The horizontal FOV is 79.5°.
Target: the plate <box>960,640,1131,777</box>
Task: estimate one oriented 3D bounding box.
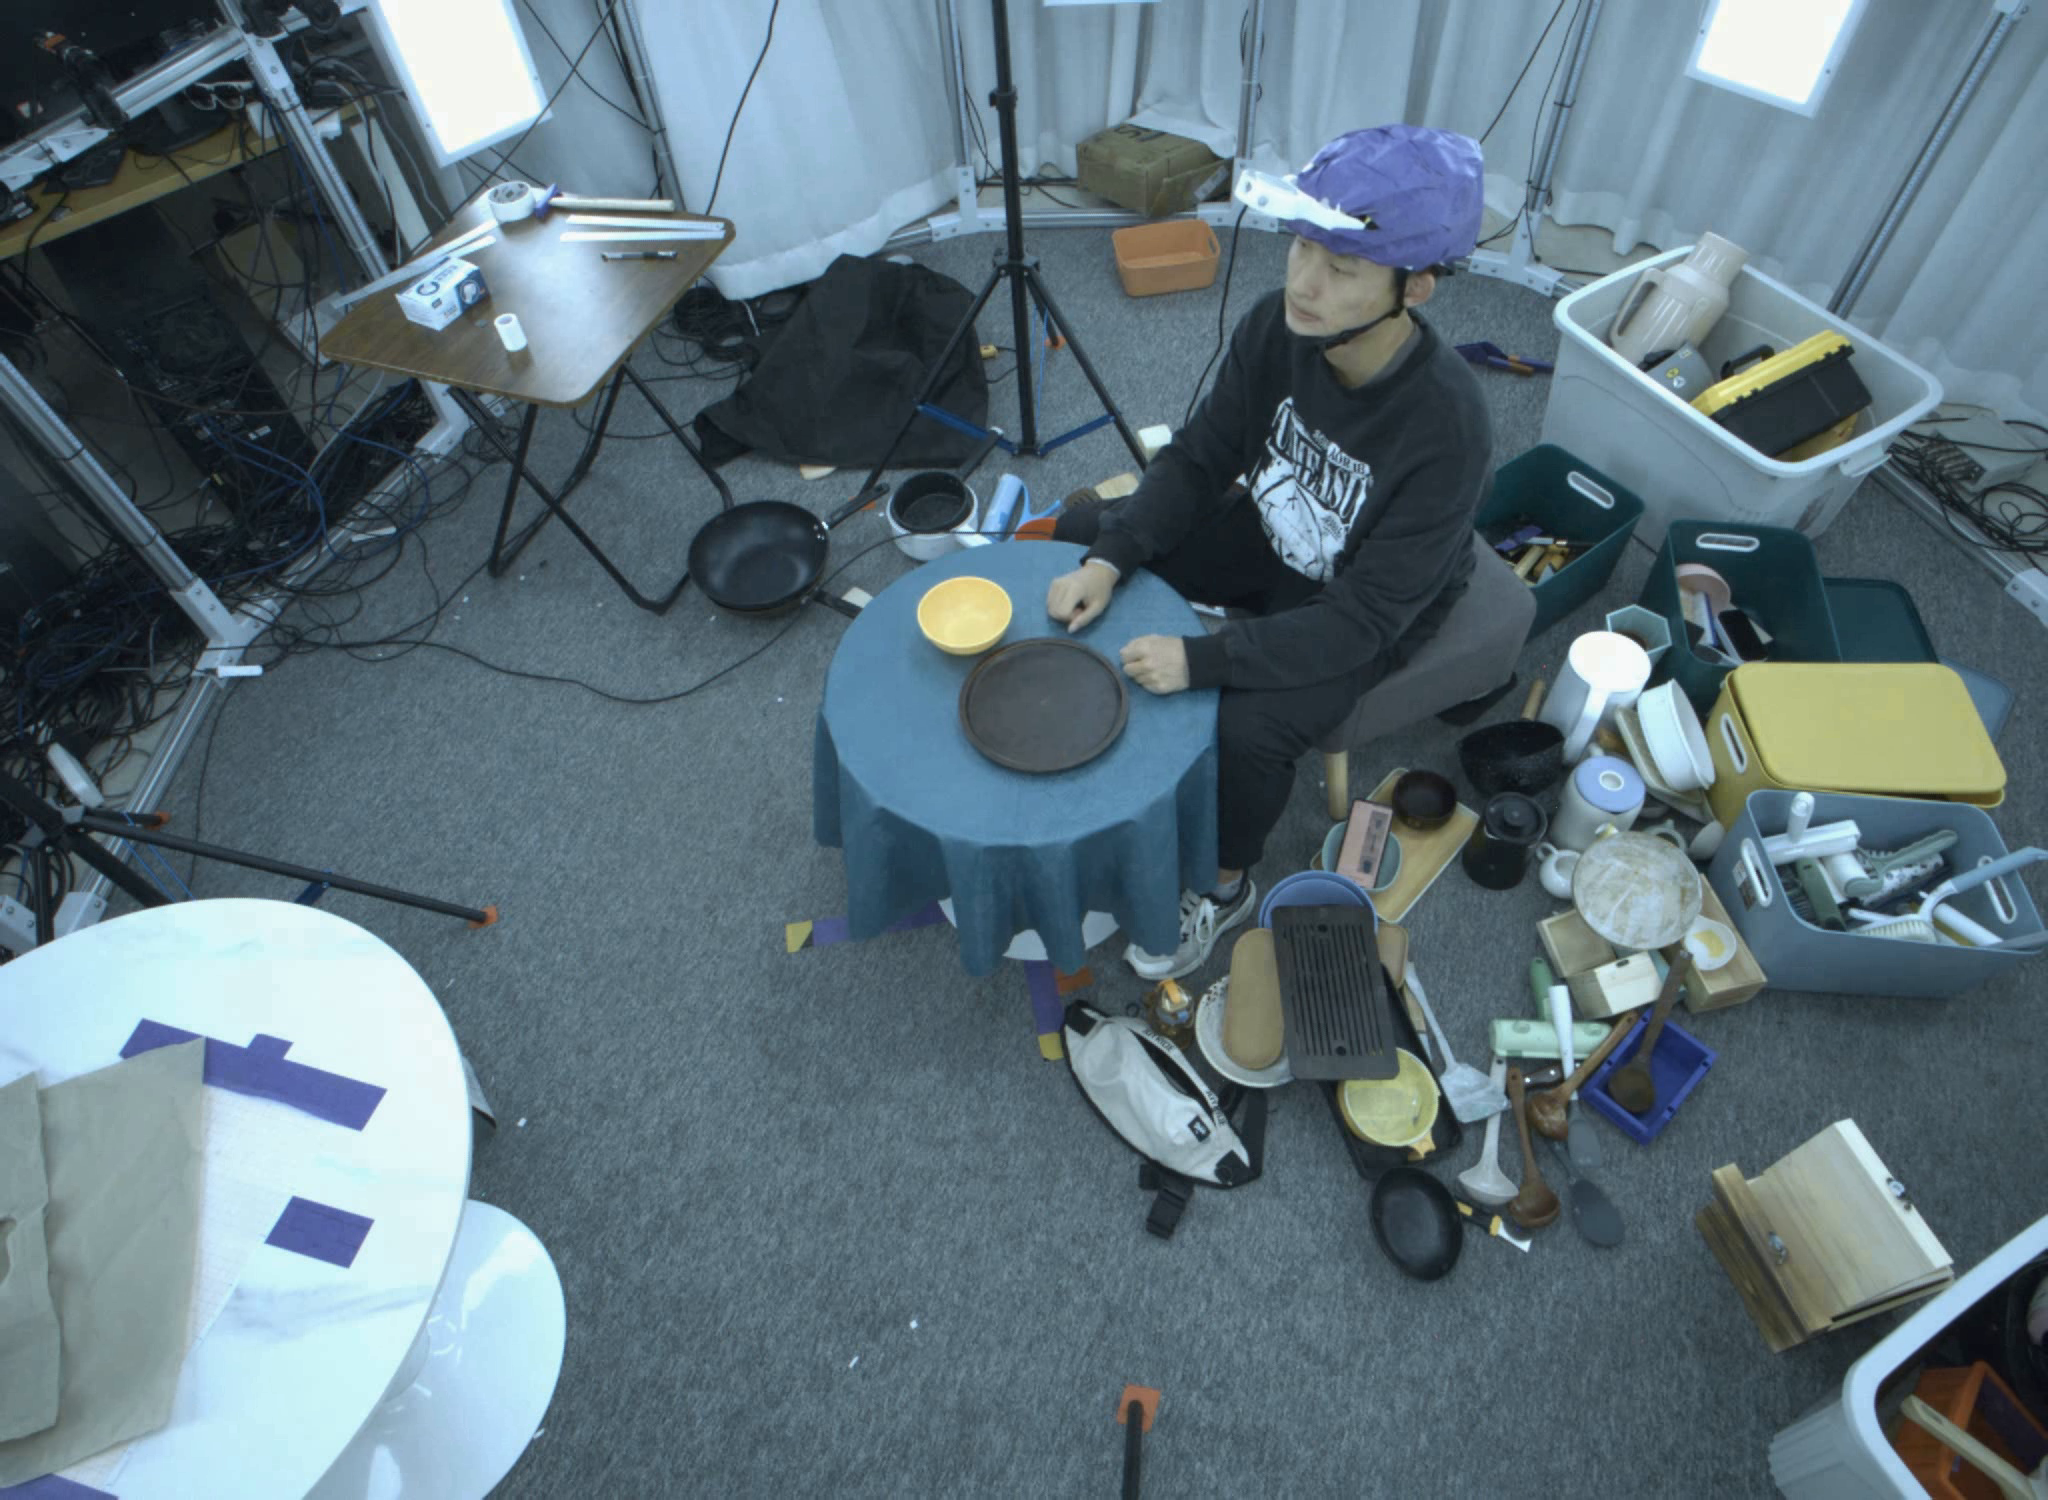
[{"bbox_3d":[0.032,-0.062,1.827,0.254,0.029,0.252,-1,53,2],"label":"plate"}]

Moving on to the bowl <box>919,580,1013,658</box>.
[{"bbox_3d":[-0.089,-0.191,1.901,0.145,0.060,0.144,1,55,0],"label":"bowl"}]
